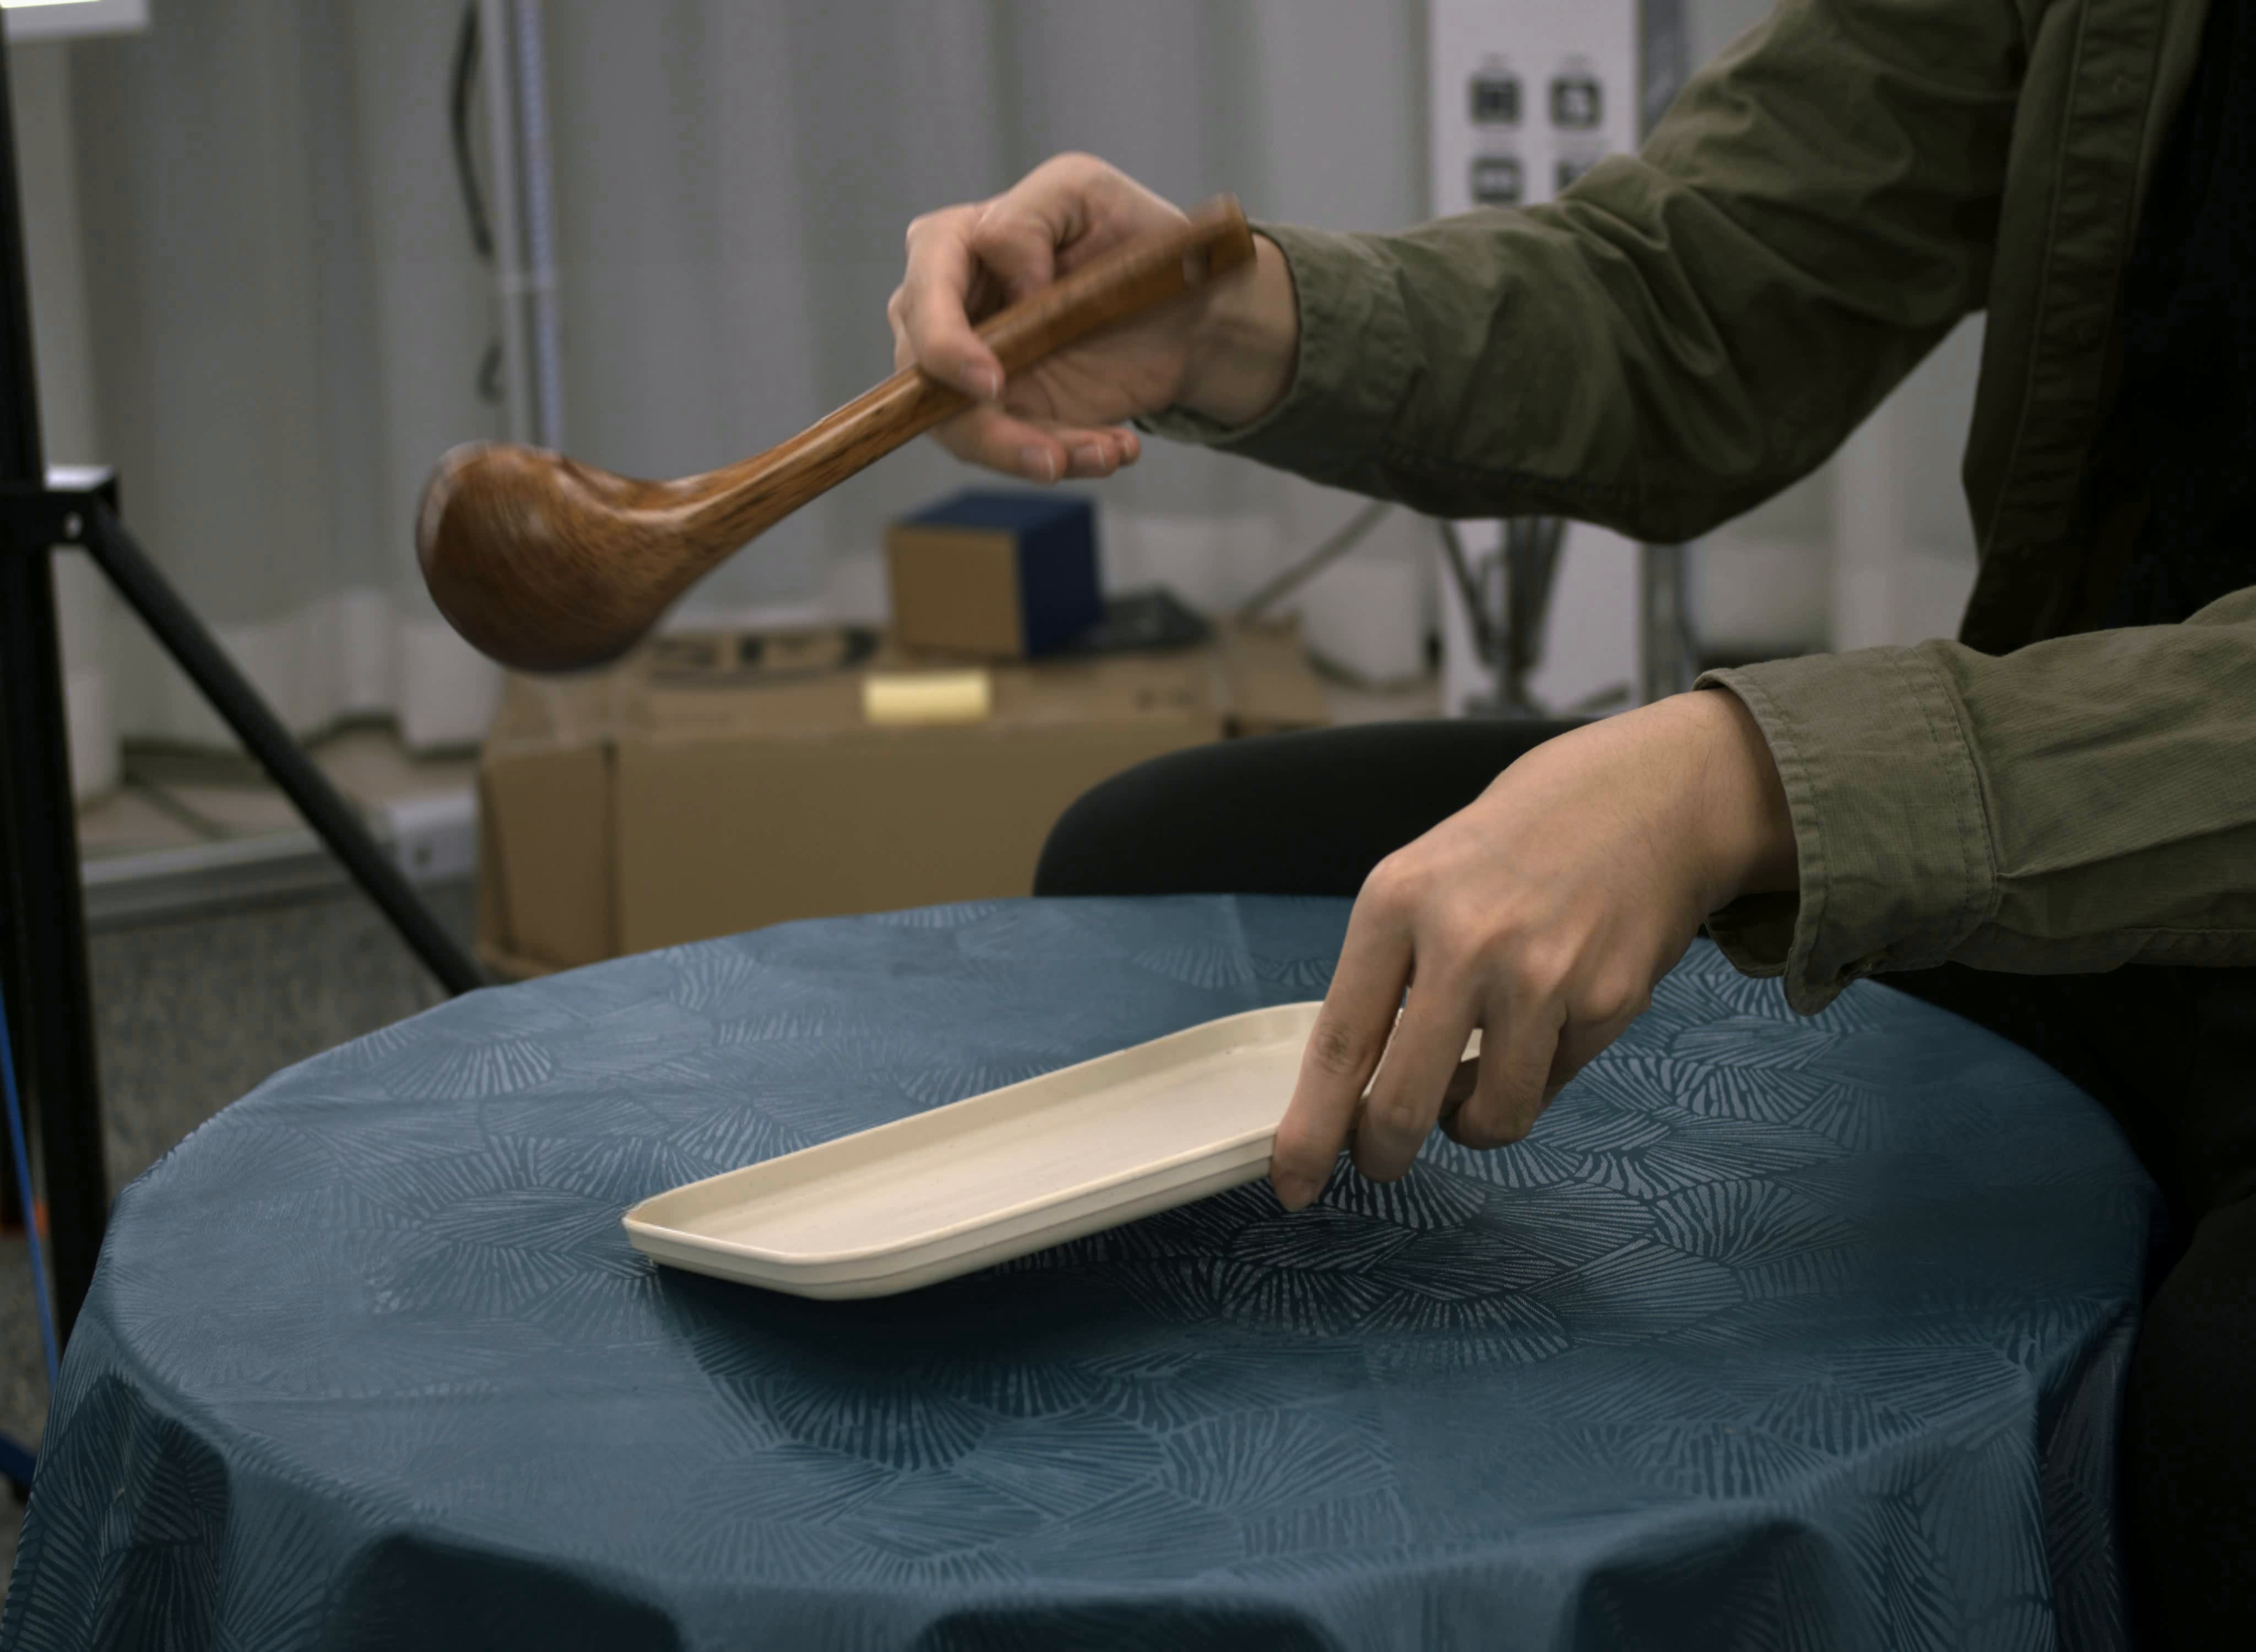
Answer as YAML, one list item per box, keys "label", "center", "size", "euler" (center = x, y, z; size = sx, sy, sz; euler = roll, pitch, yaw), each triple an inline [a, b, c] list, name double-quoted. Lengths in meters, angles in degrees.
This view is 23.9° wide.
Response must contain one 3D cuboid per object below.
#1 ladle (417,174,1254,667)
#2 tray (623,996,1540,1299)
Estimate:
- label: "ladle"
  center: [-0.091, -0.135, 1.649]
  size: [0.271, 0.081, 0.078]
  euler: [-32, 40, -12]
- label: "tray"
  center: [-0.012, 0.091, 1.508]
  size: [0.235, 0.017, 0.174]
  euler: [-16, 9, -25]
